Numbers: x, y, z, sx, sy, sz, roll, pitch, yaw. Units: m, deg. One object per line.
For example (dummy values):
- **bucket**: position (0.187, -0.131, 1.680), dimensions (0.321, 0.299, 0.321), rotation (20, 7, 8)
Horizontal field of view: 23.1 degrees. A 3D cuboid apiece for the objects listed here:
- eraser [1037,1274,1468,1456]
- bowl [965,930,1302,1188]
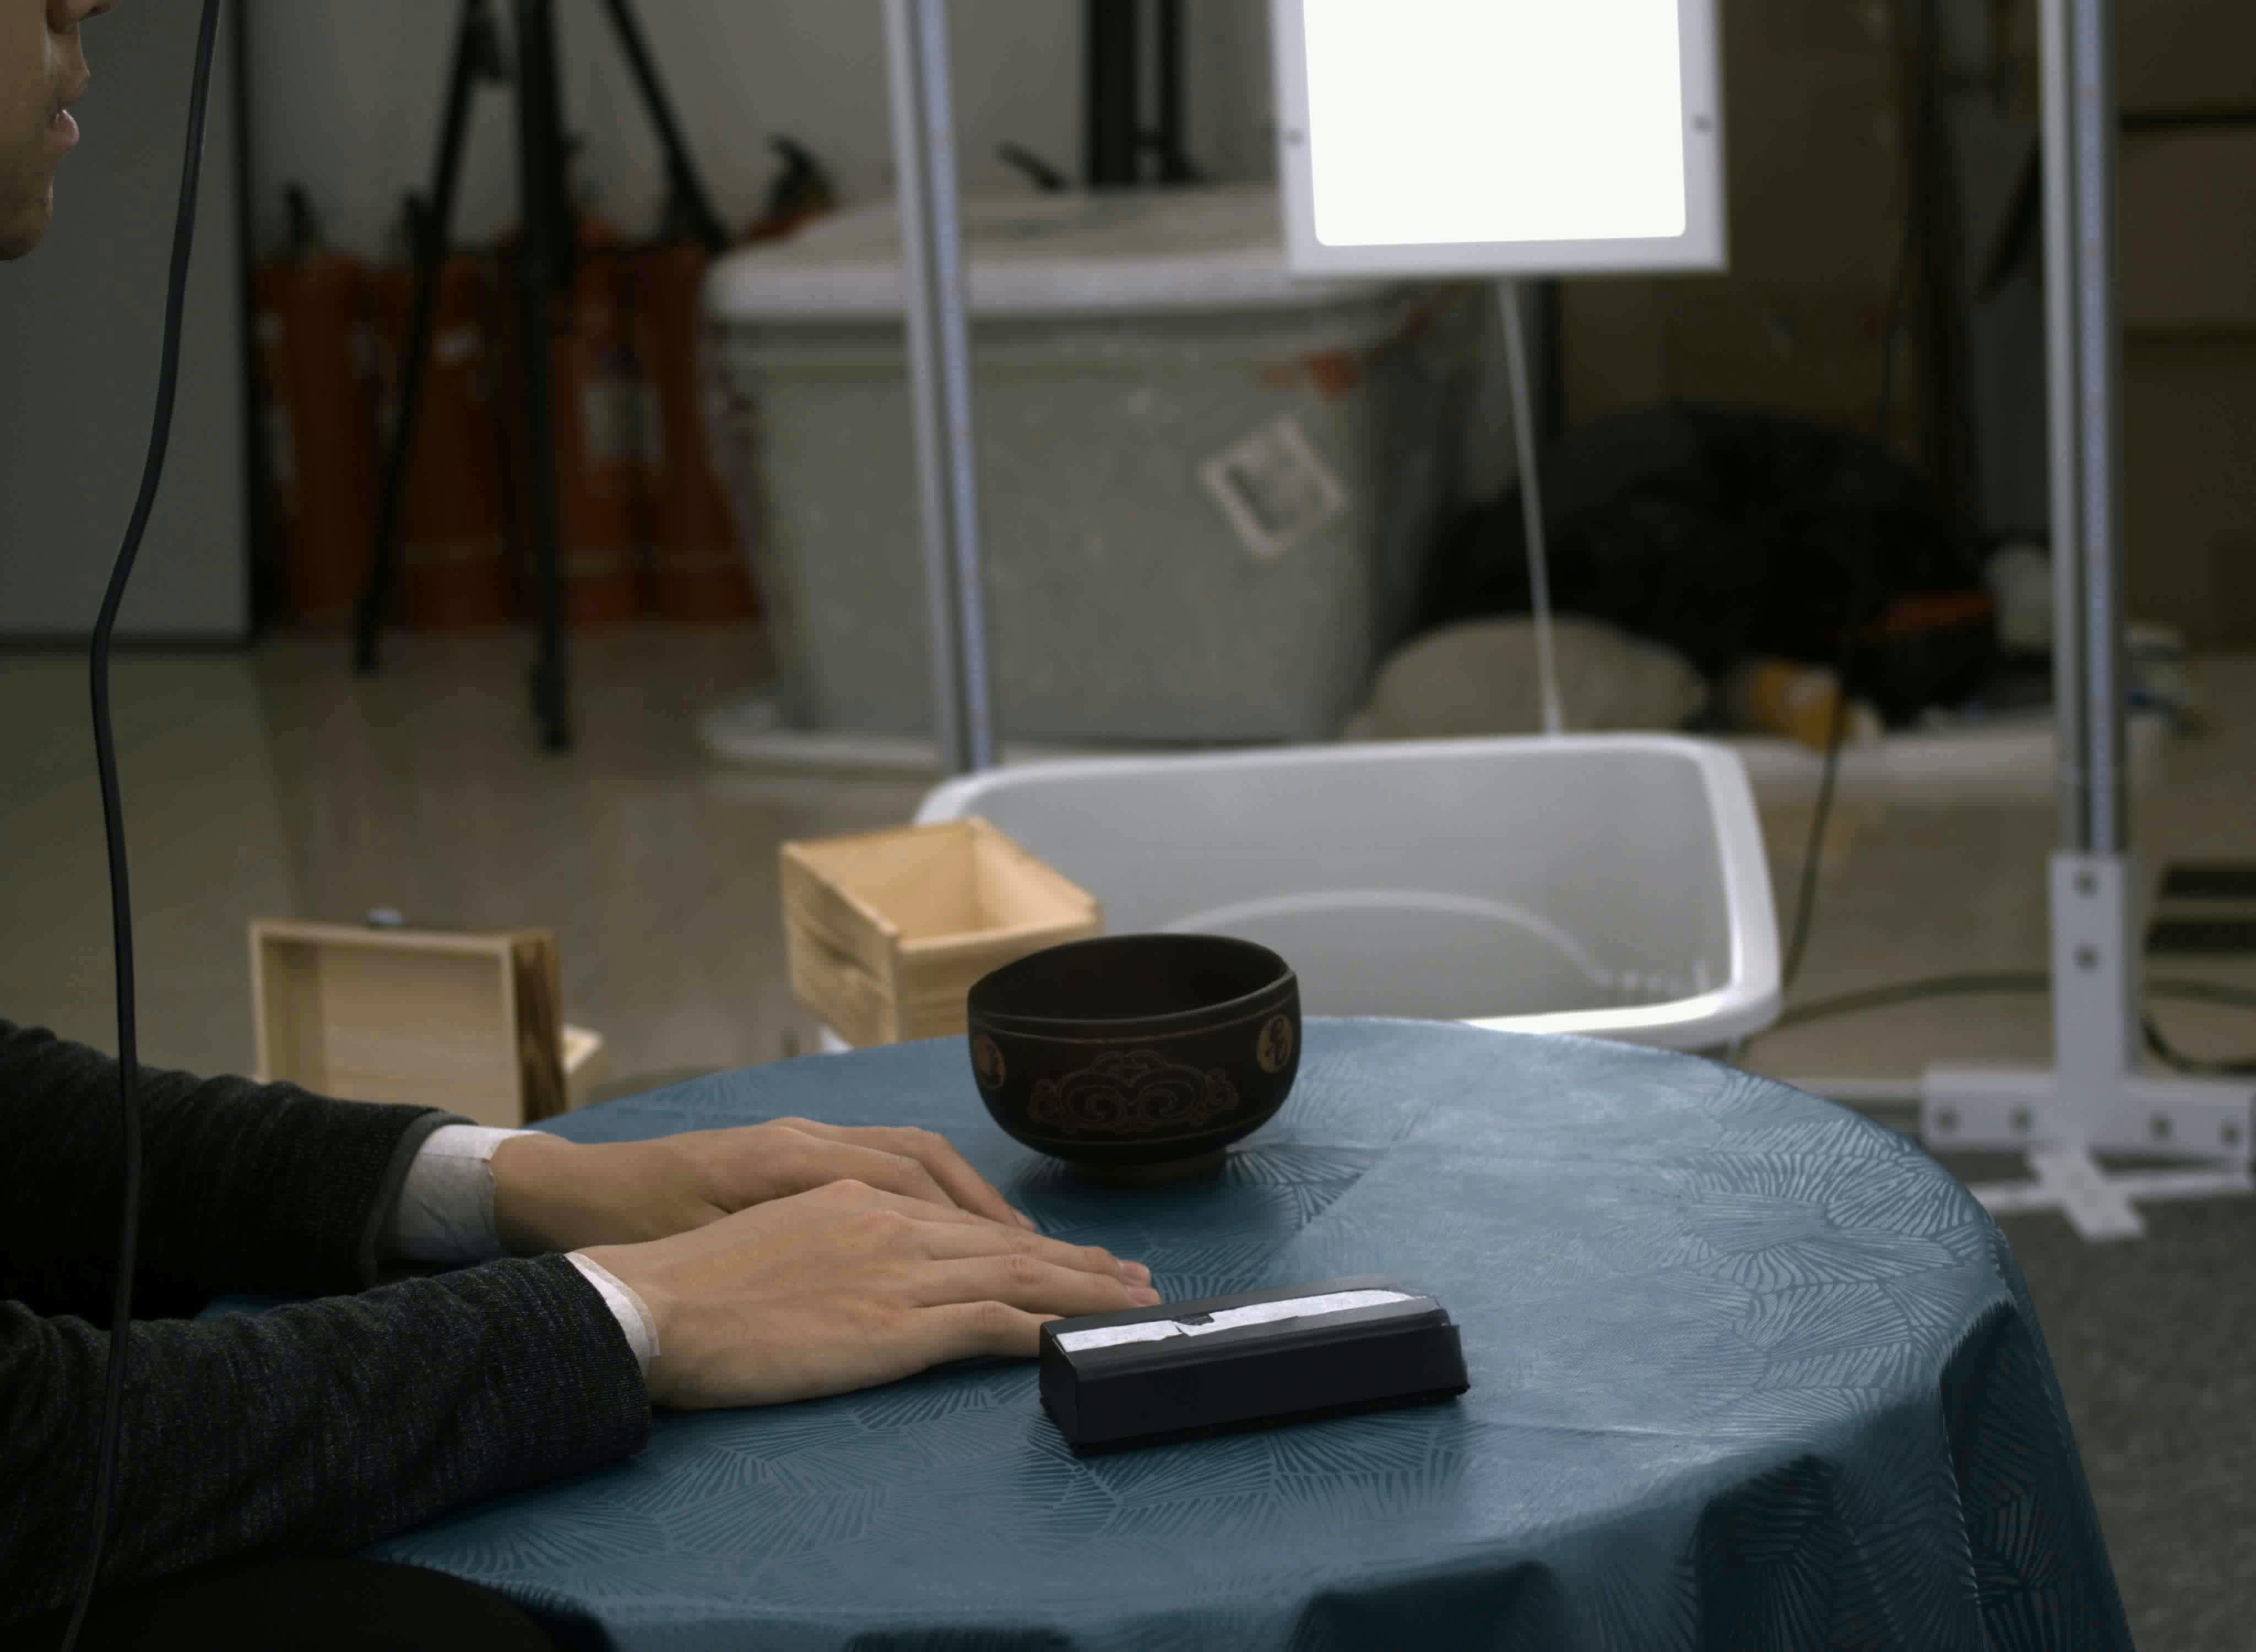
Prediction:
- **eraser**: position (0.039, 0.163, 1.675), dimensions (0.124, 0.030, 0.054), rotation (-8, 11, -11)
- **bowl**: position (0.003, 0.085, 1.920), dimensions (0.118, 0.070, 0.118), rotation (-4, 16, 0)
